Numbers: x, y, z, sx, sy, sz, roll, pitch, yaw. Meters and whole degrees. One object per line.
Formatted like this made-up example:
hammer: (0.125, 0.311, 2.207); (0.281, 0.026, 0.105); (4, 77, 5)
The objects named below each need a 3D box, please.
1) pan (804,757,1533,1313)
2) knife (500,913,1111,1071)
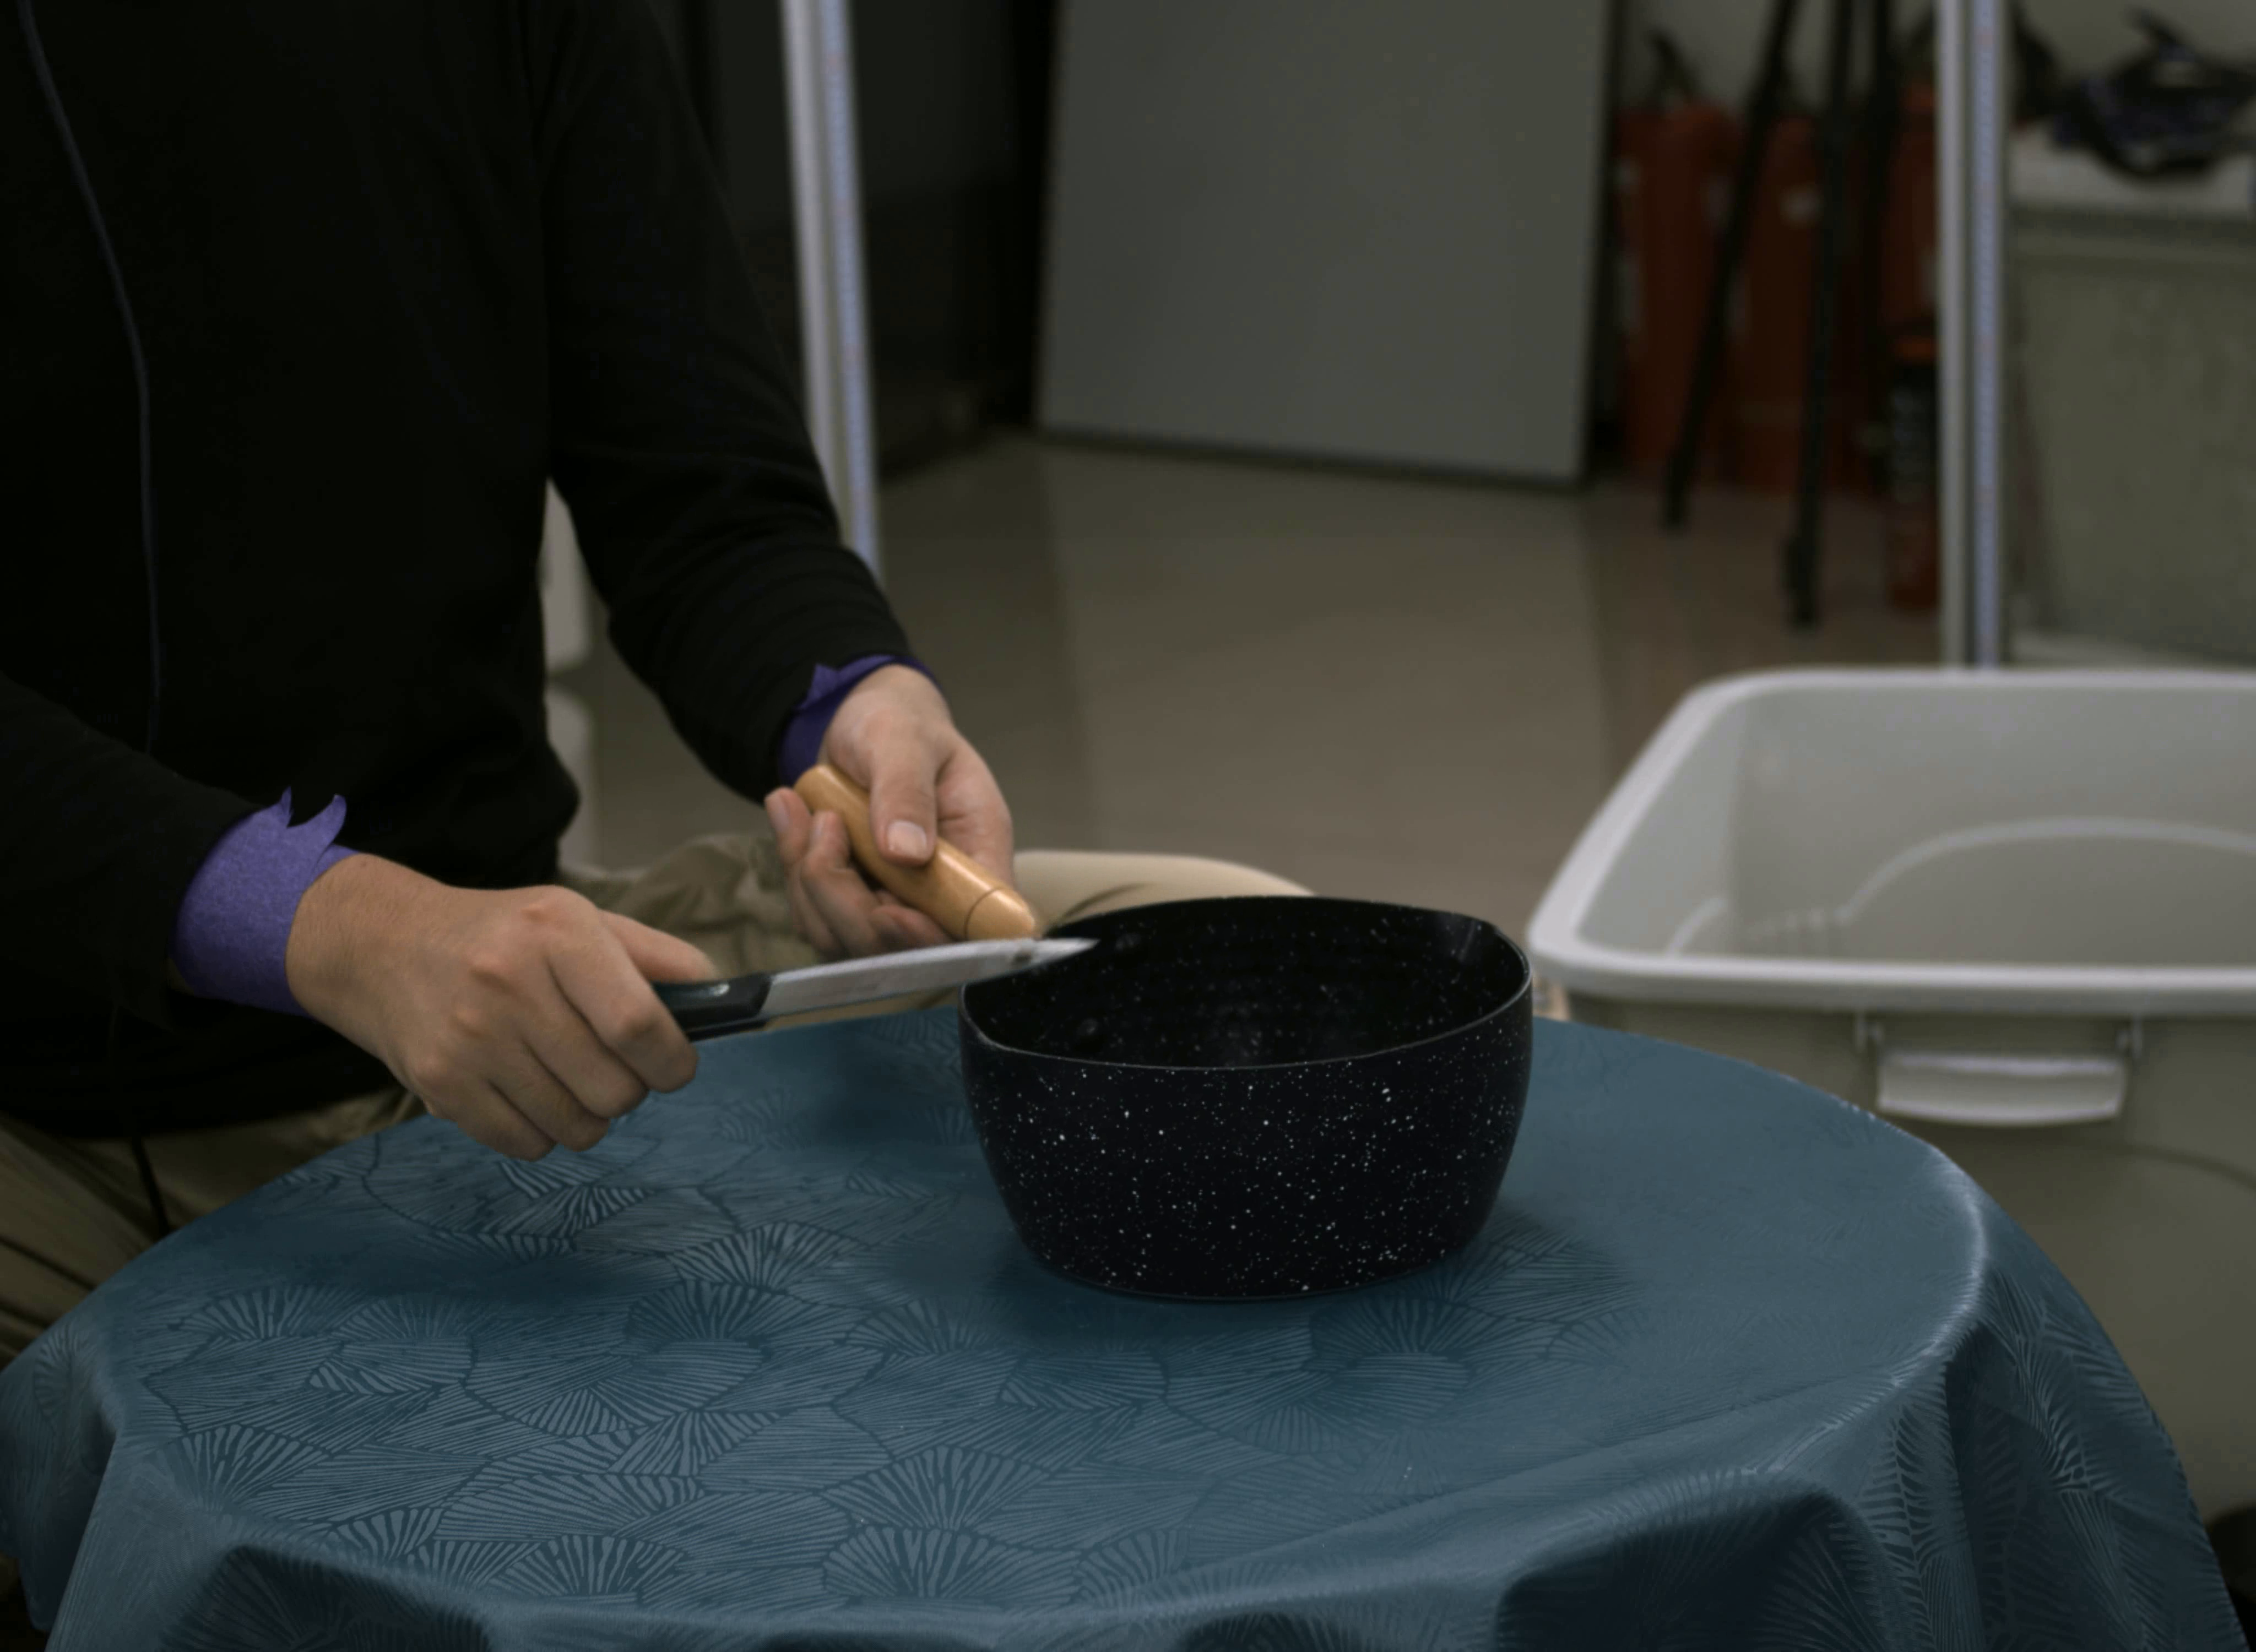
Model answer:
pan: (-0.009, 0.062, 1.777); (0.203, 0.109, 0.346); (-14, 20, -33)
knife: (-0.104, 0.051, 1.690); (0.239, 0.016, 0.024); (-12, 34, 33)
